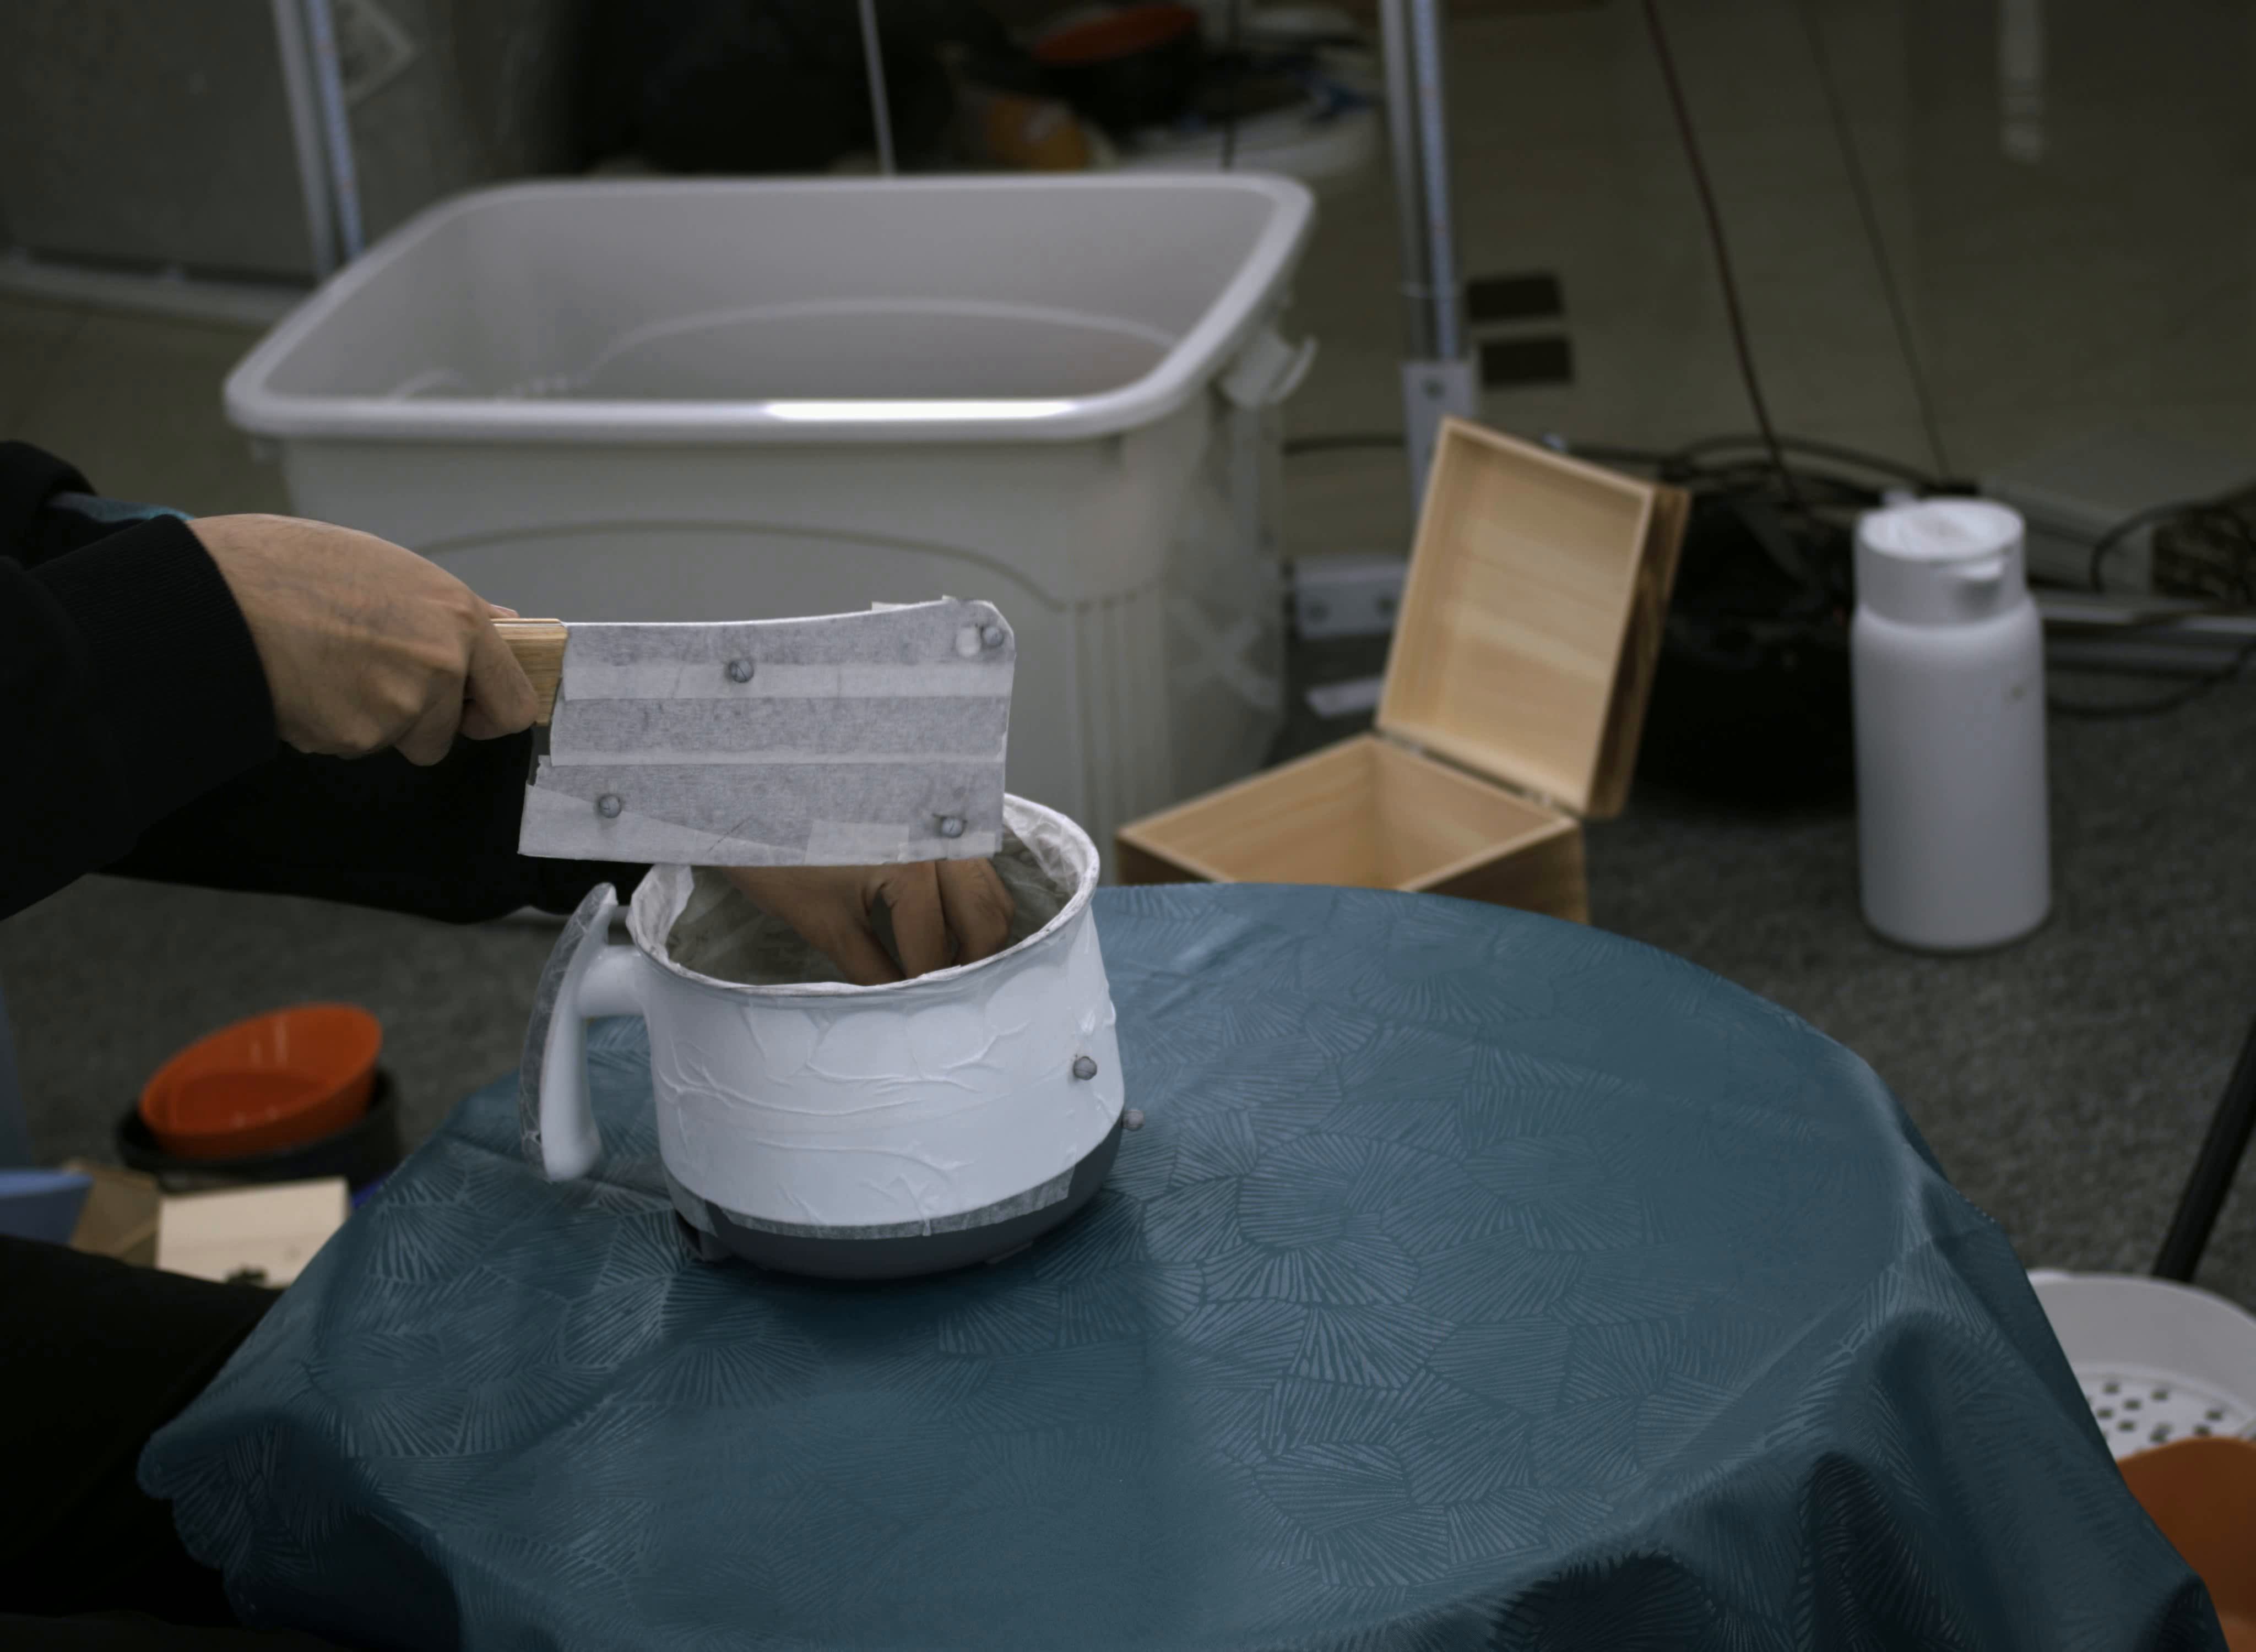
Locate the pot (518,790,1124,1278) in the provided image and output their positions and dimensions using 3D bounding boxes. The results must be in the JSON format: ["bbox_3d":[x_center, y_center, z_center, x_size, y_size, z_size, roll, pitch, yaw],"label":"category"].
[{"bbox_3d":[-0.119,0.080,2.136,0.233,0.139,0.176,-2,25,7],"label":"pot"}]

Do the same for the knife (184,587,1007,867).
[{"bbox_3d":[-0.178,-0.039,1.978,0.315,0.115,0.021,4,19,-28],"label":"knife"}]
